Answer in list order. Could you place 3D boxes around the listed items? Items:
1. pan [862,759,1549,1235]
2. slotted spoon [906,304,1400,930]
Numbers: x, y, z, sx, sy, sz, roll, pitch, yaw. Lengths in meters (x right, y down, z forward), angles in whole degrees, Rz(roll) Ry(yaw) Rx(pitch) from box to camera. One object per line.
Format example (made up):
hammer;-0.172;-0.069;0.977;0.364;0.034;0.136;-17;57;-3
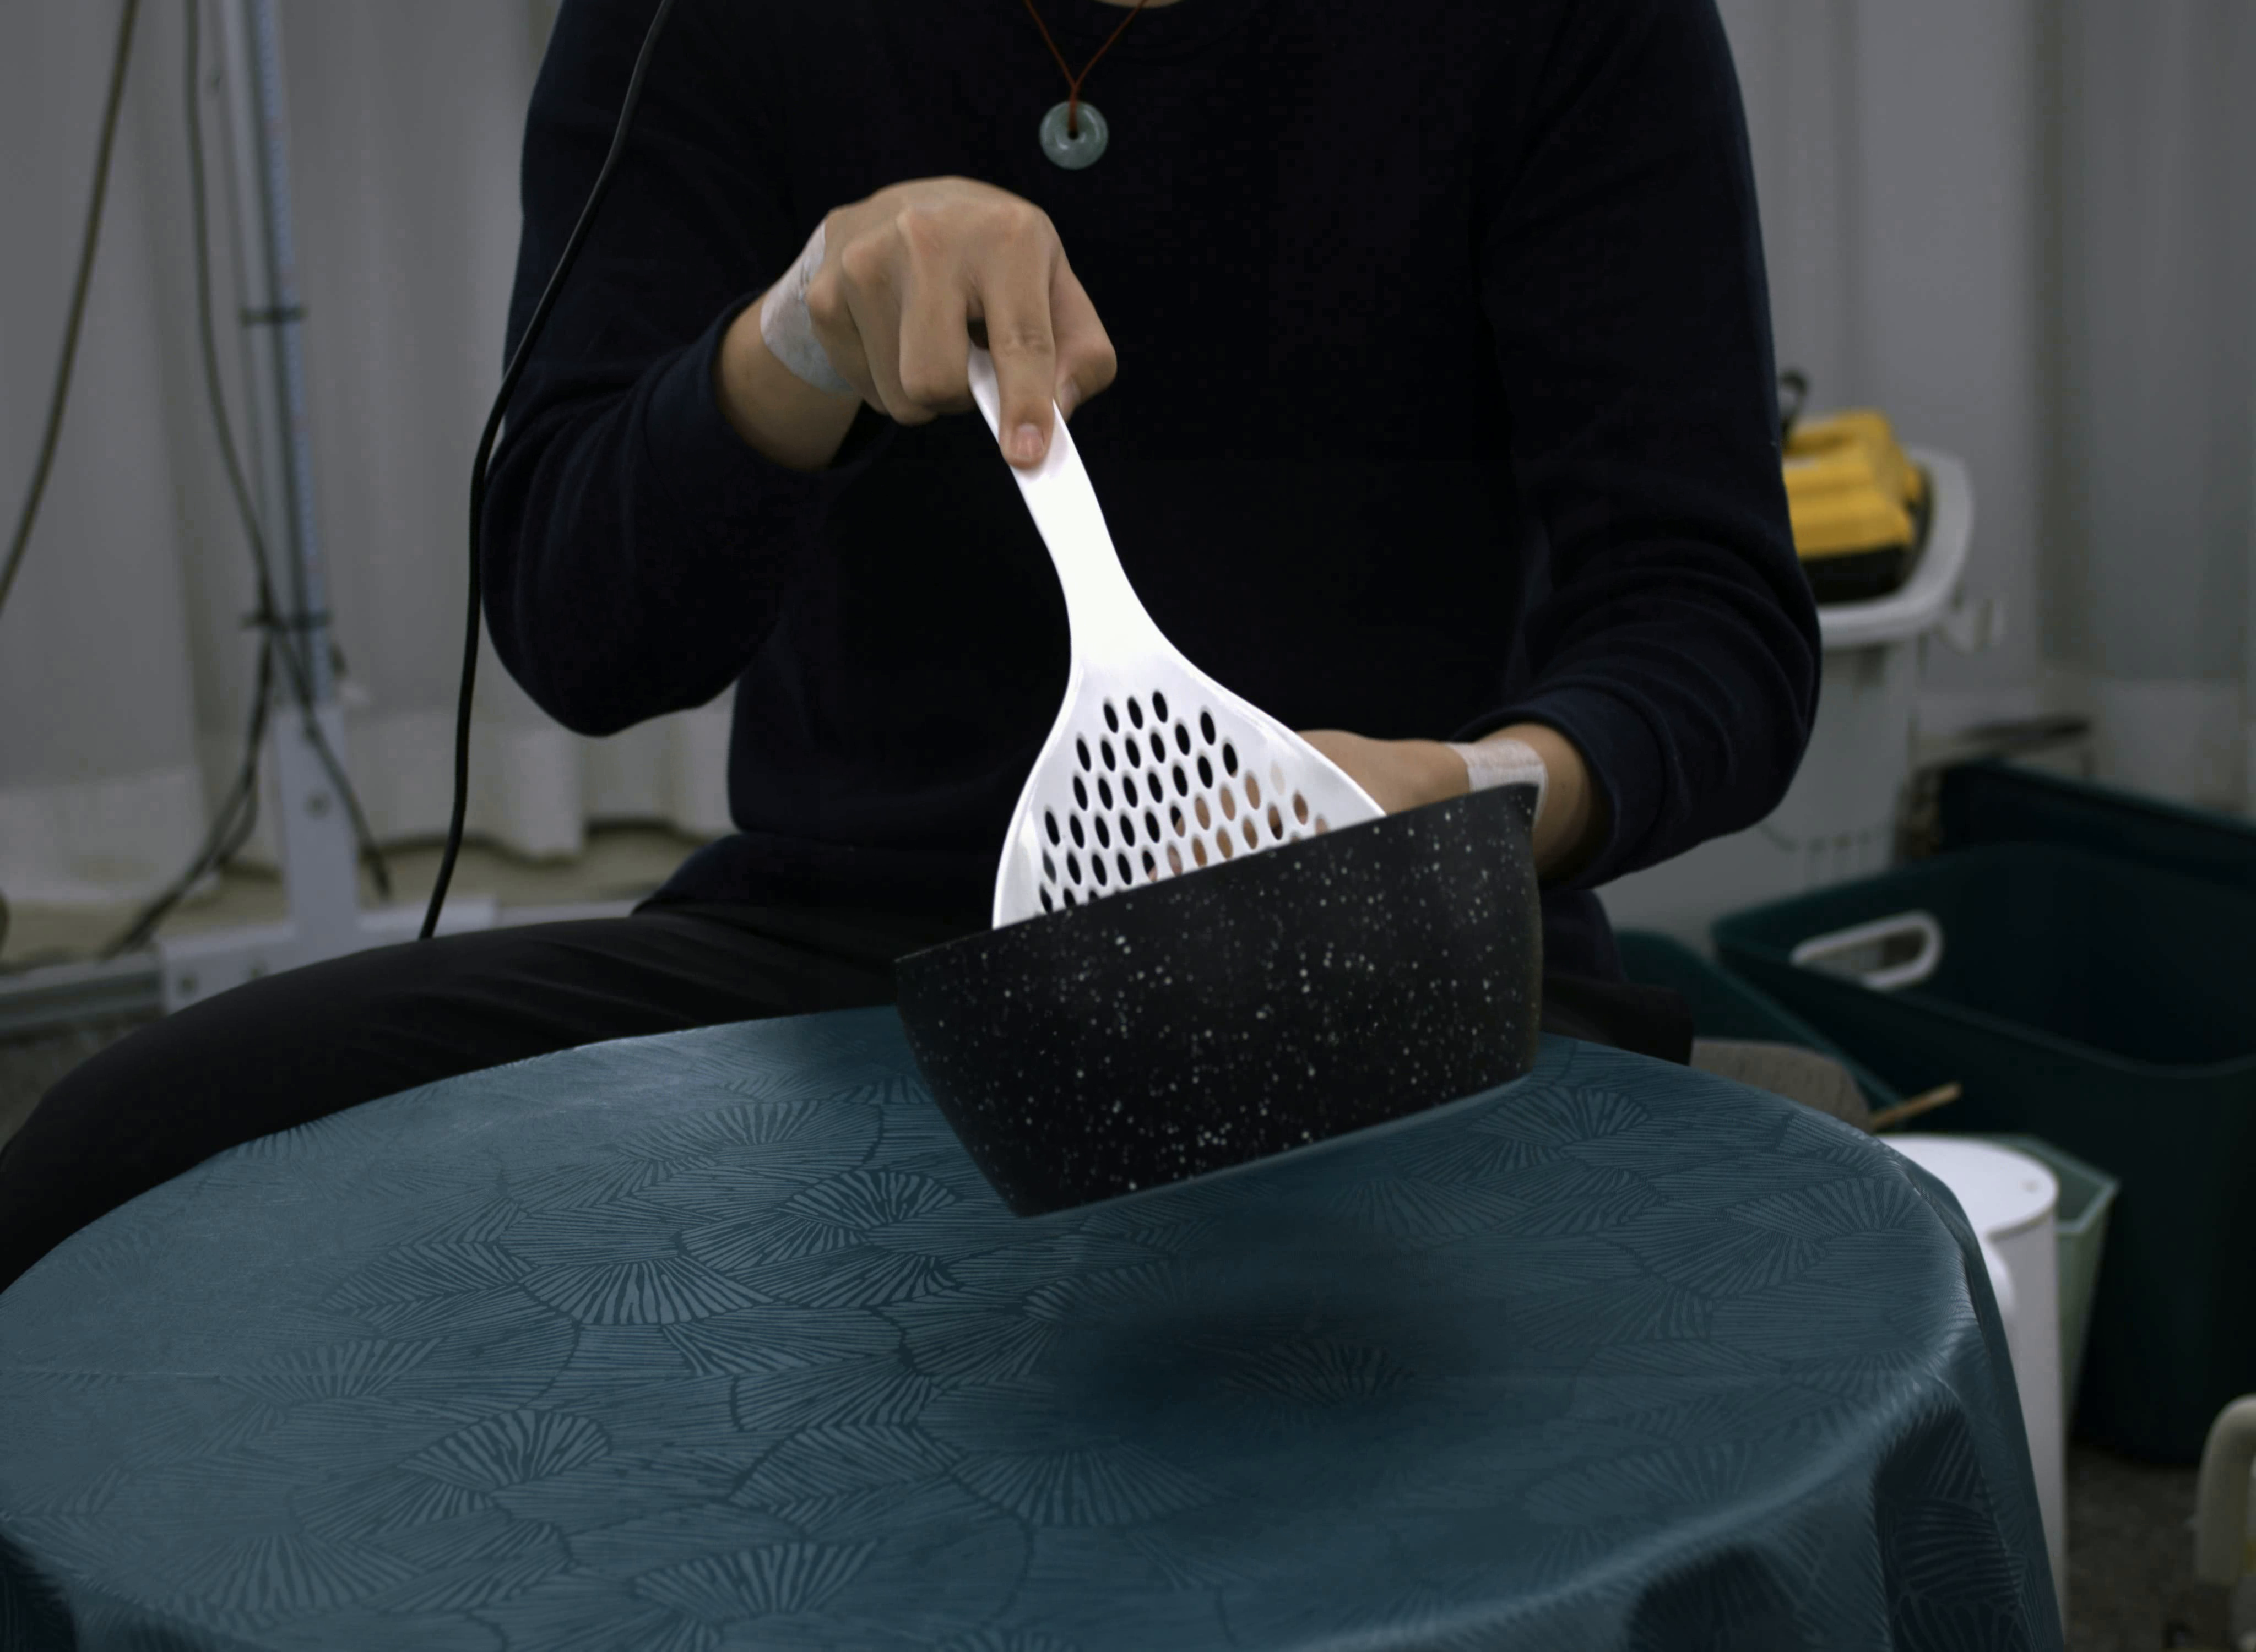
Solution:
pan;0.035;0.040;1.627;0.207;0.108;0.343;-18;0;5
slotted spoon;-0.003;-0.041;1.640;0.136;0.050;0.353;-15;58;-10
